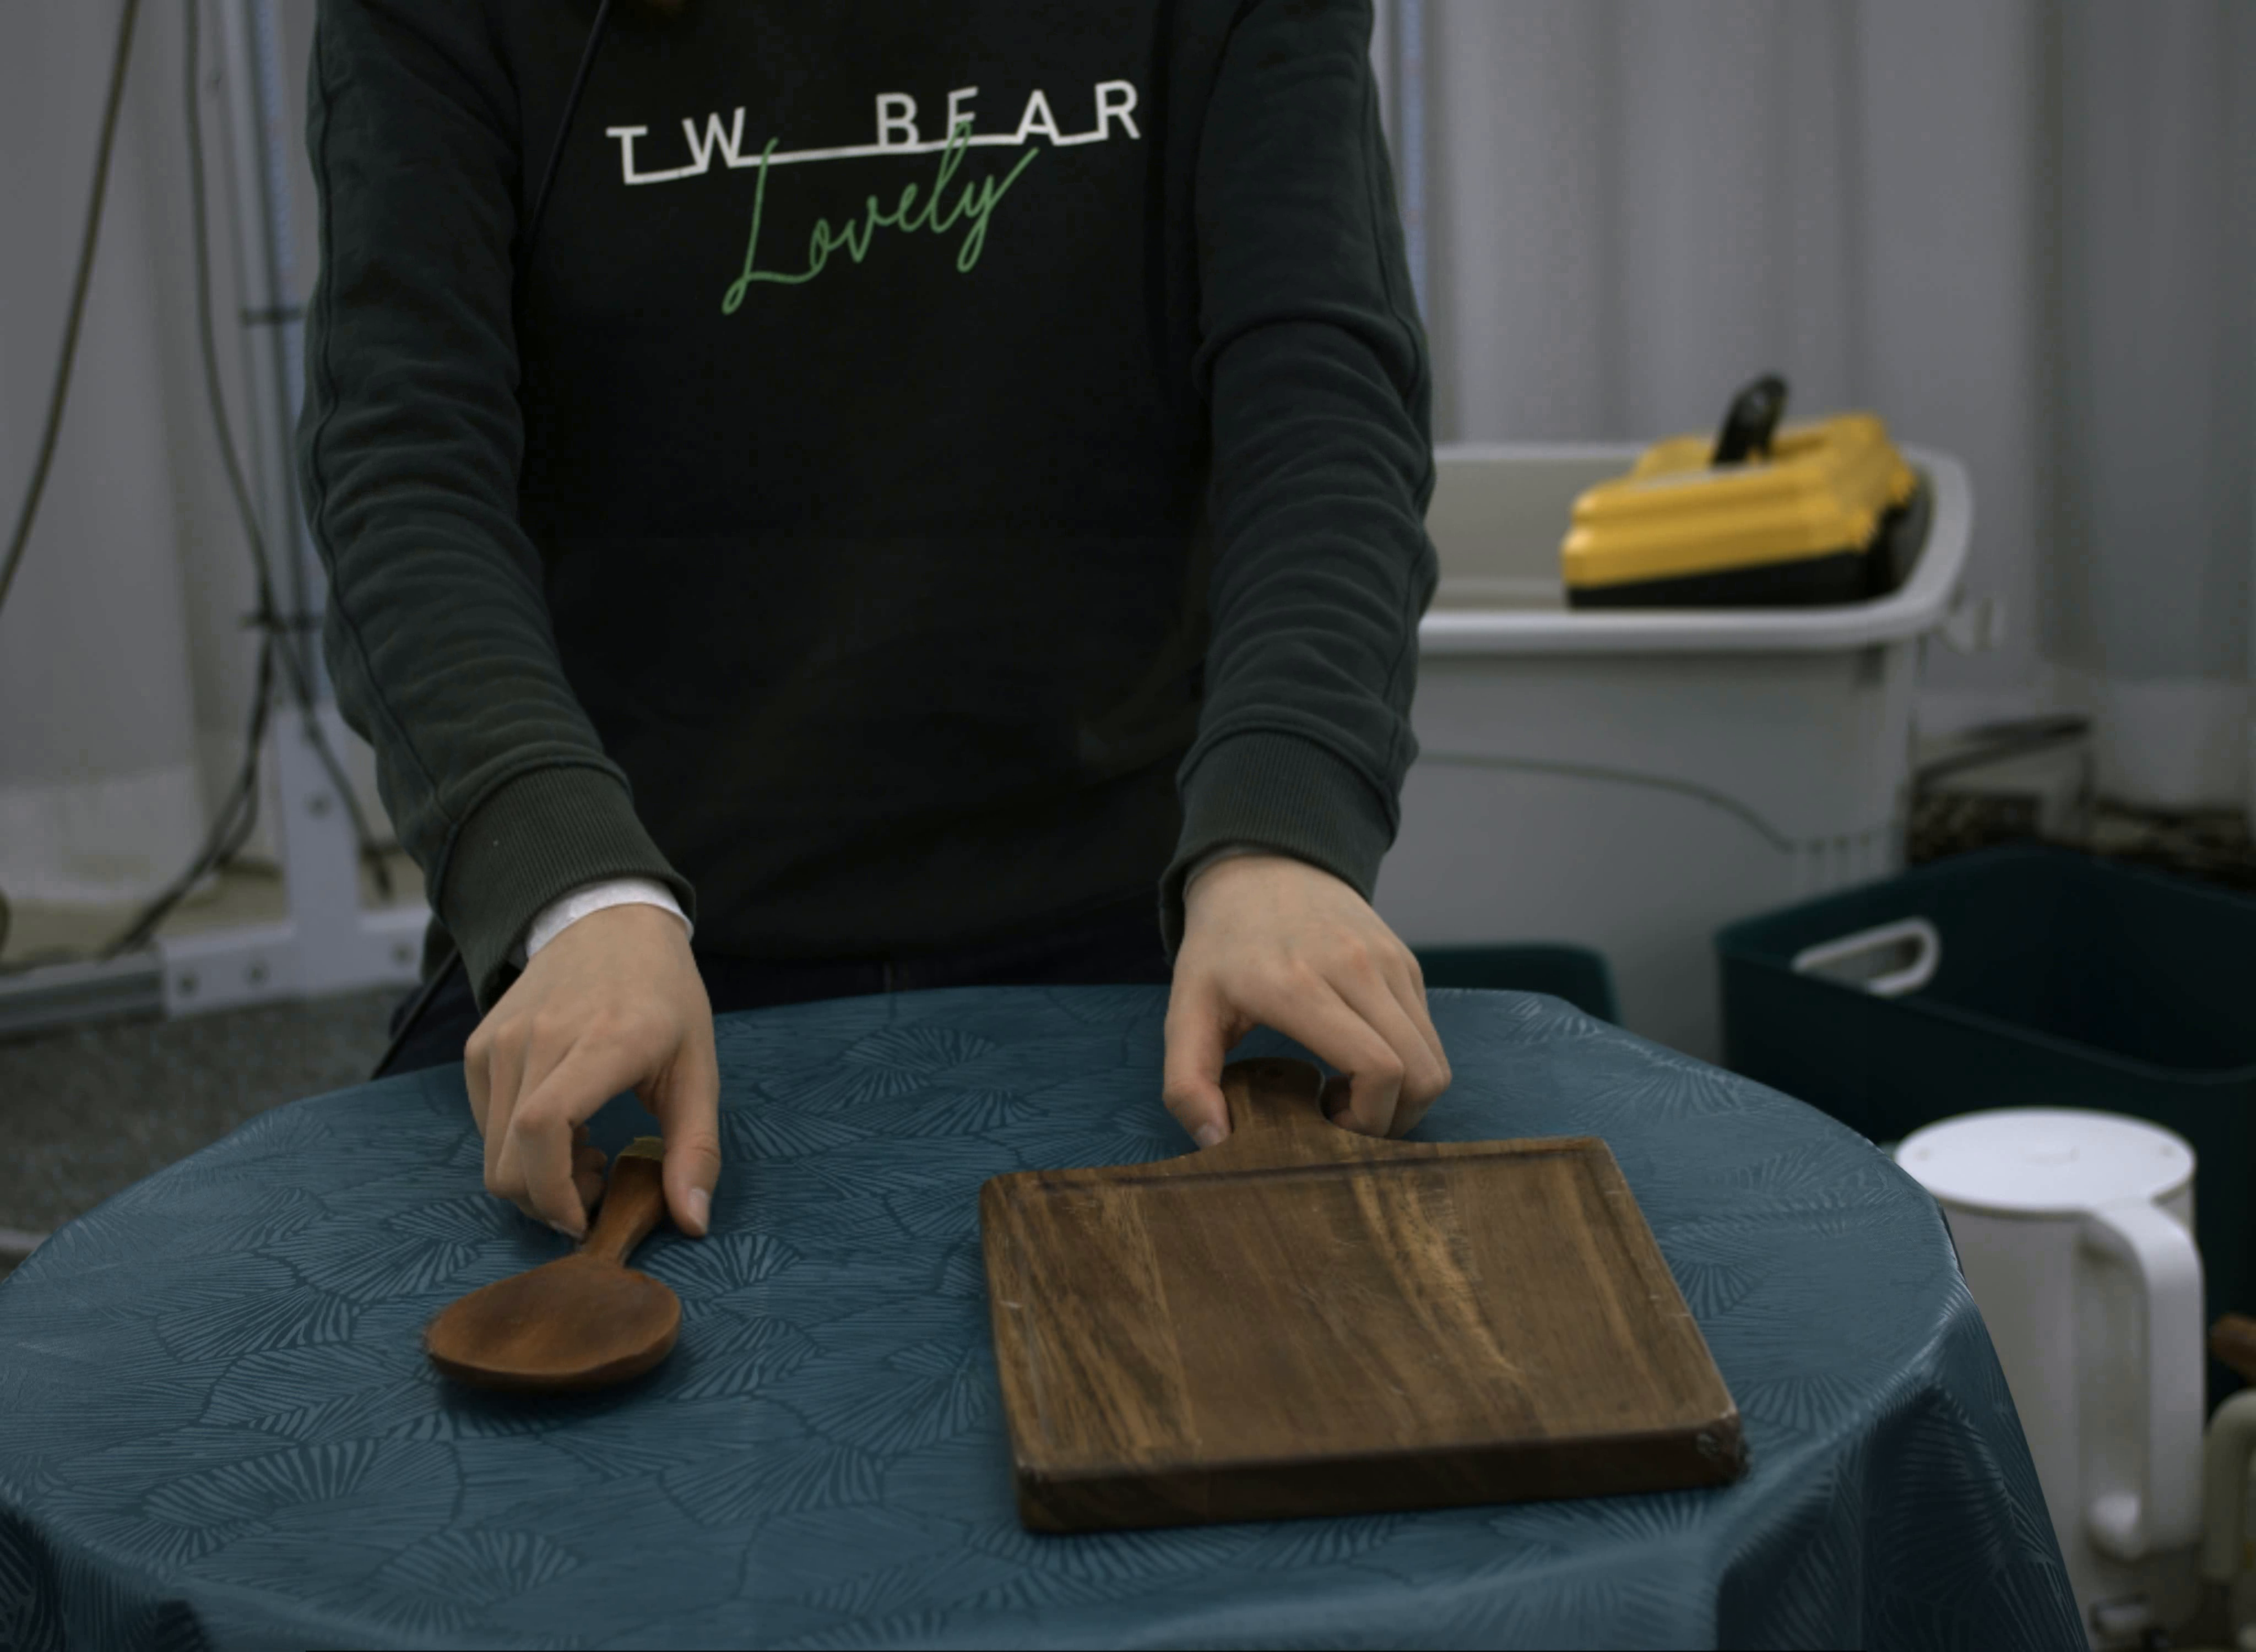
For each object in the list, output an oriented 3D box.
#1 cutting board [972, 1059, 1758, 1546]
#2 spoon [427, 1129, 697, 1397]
[{"bbox_3d":[0.057,0.130,1.611,0.200,0.023,0.354,-4,15,-3],"label":"cutting board"},{"bbox_3d":[-0.158,0.132,1.644,0.075,0.017,0.217,-3,15,6],"label":"spoon"}]
